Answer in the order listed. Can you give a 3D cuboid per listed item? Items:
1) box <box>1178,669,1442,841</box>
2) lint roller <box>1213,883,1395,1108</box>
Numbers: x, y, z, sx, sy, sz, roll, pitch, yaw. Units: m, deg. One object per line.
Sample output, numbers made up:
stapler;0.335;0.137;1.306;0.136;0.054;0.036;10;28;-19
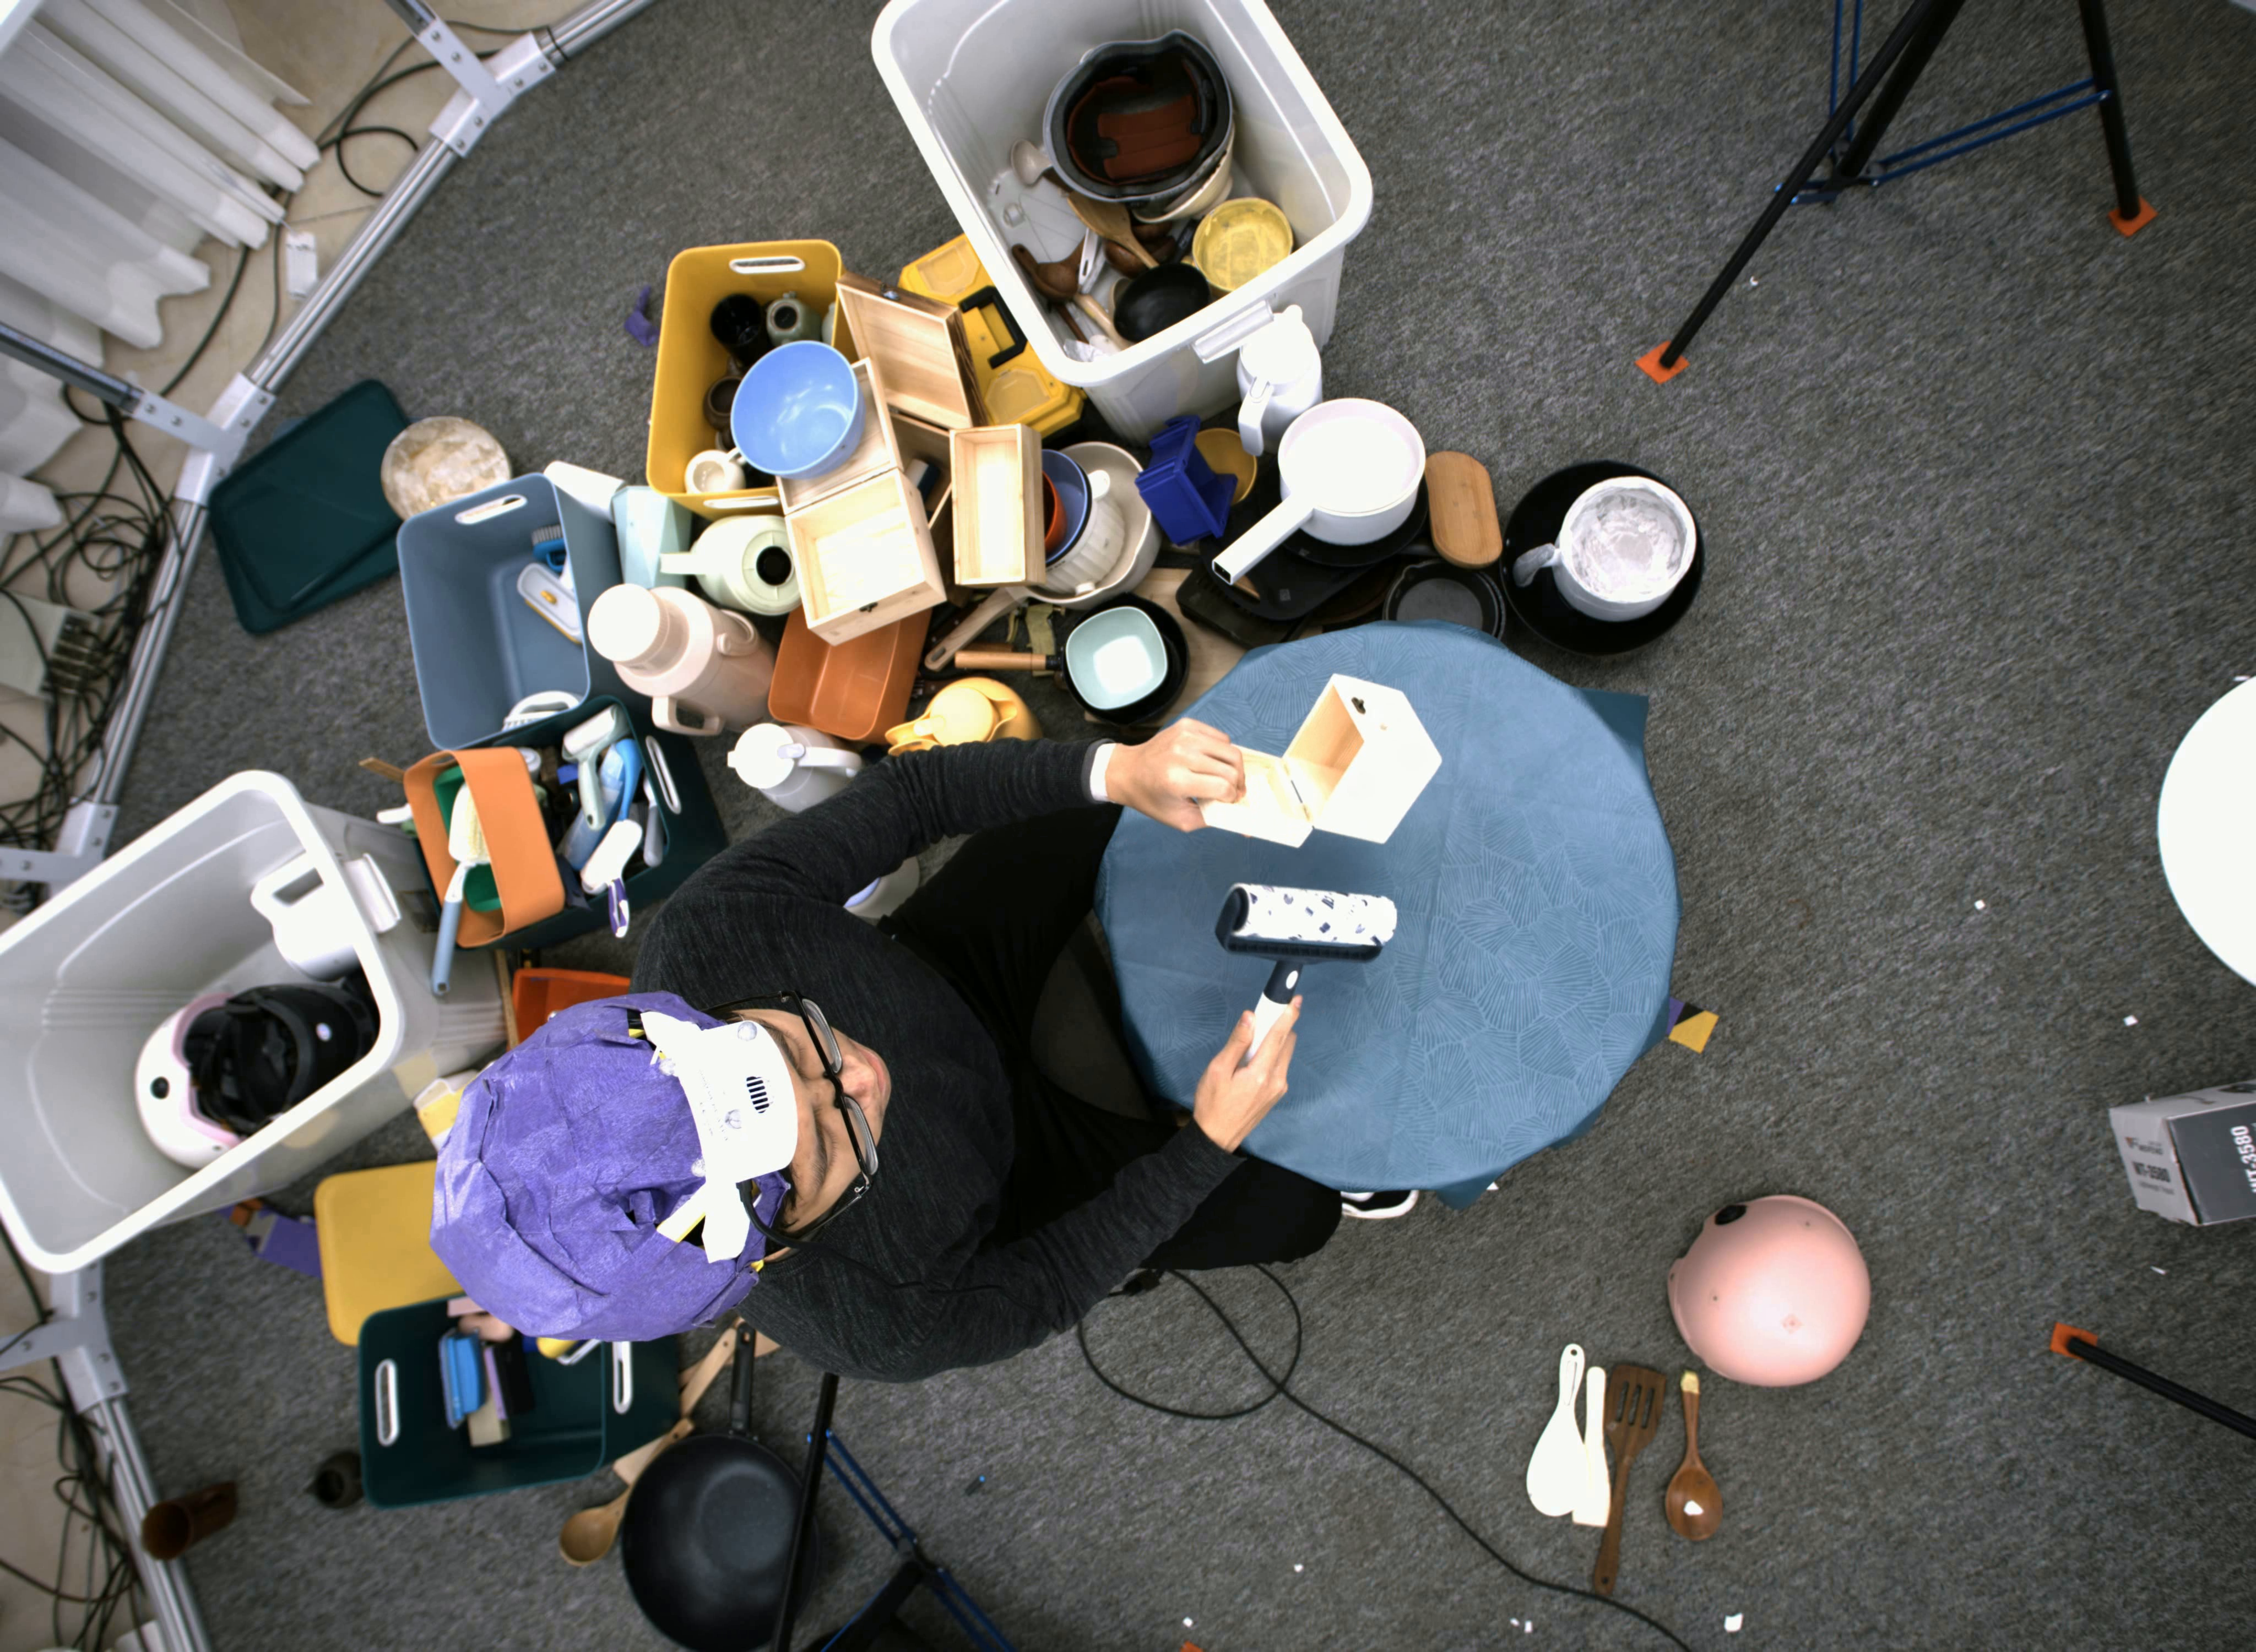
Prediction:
box;0.159;-0.068;1.225;0.184;0.100;0.137;11;128;-24
lint roller;0.141;0.169;1.318;0.176;0.049;0.252;5;116;-24
